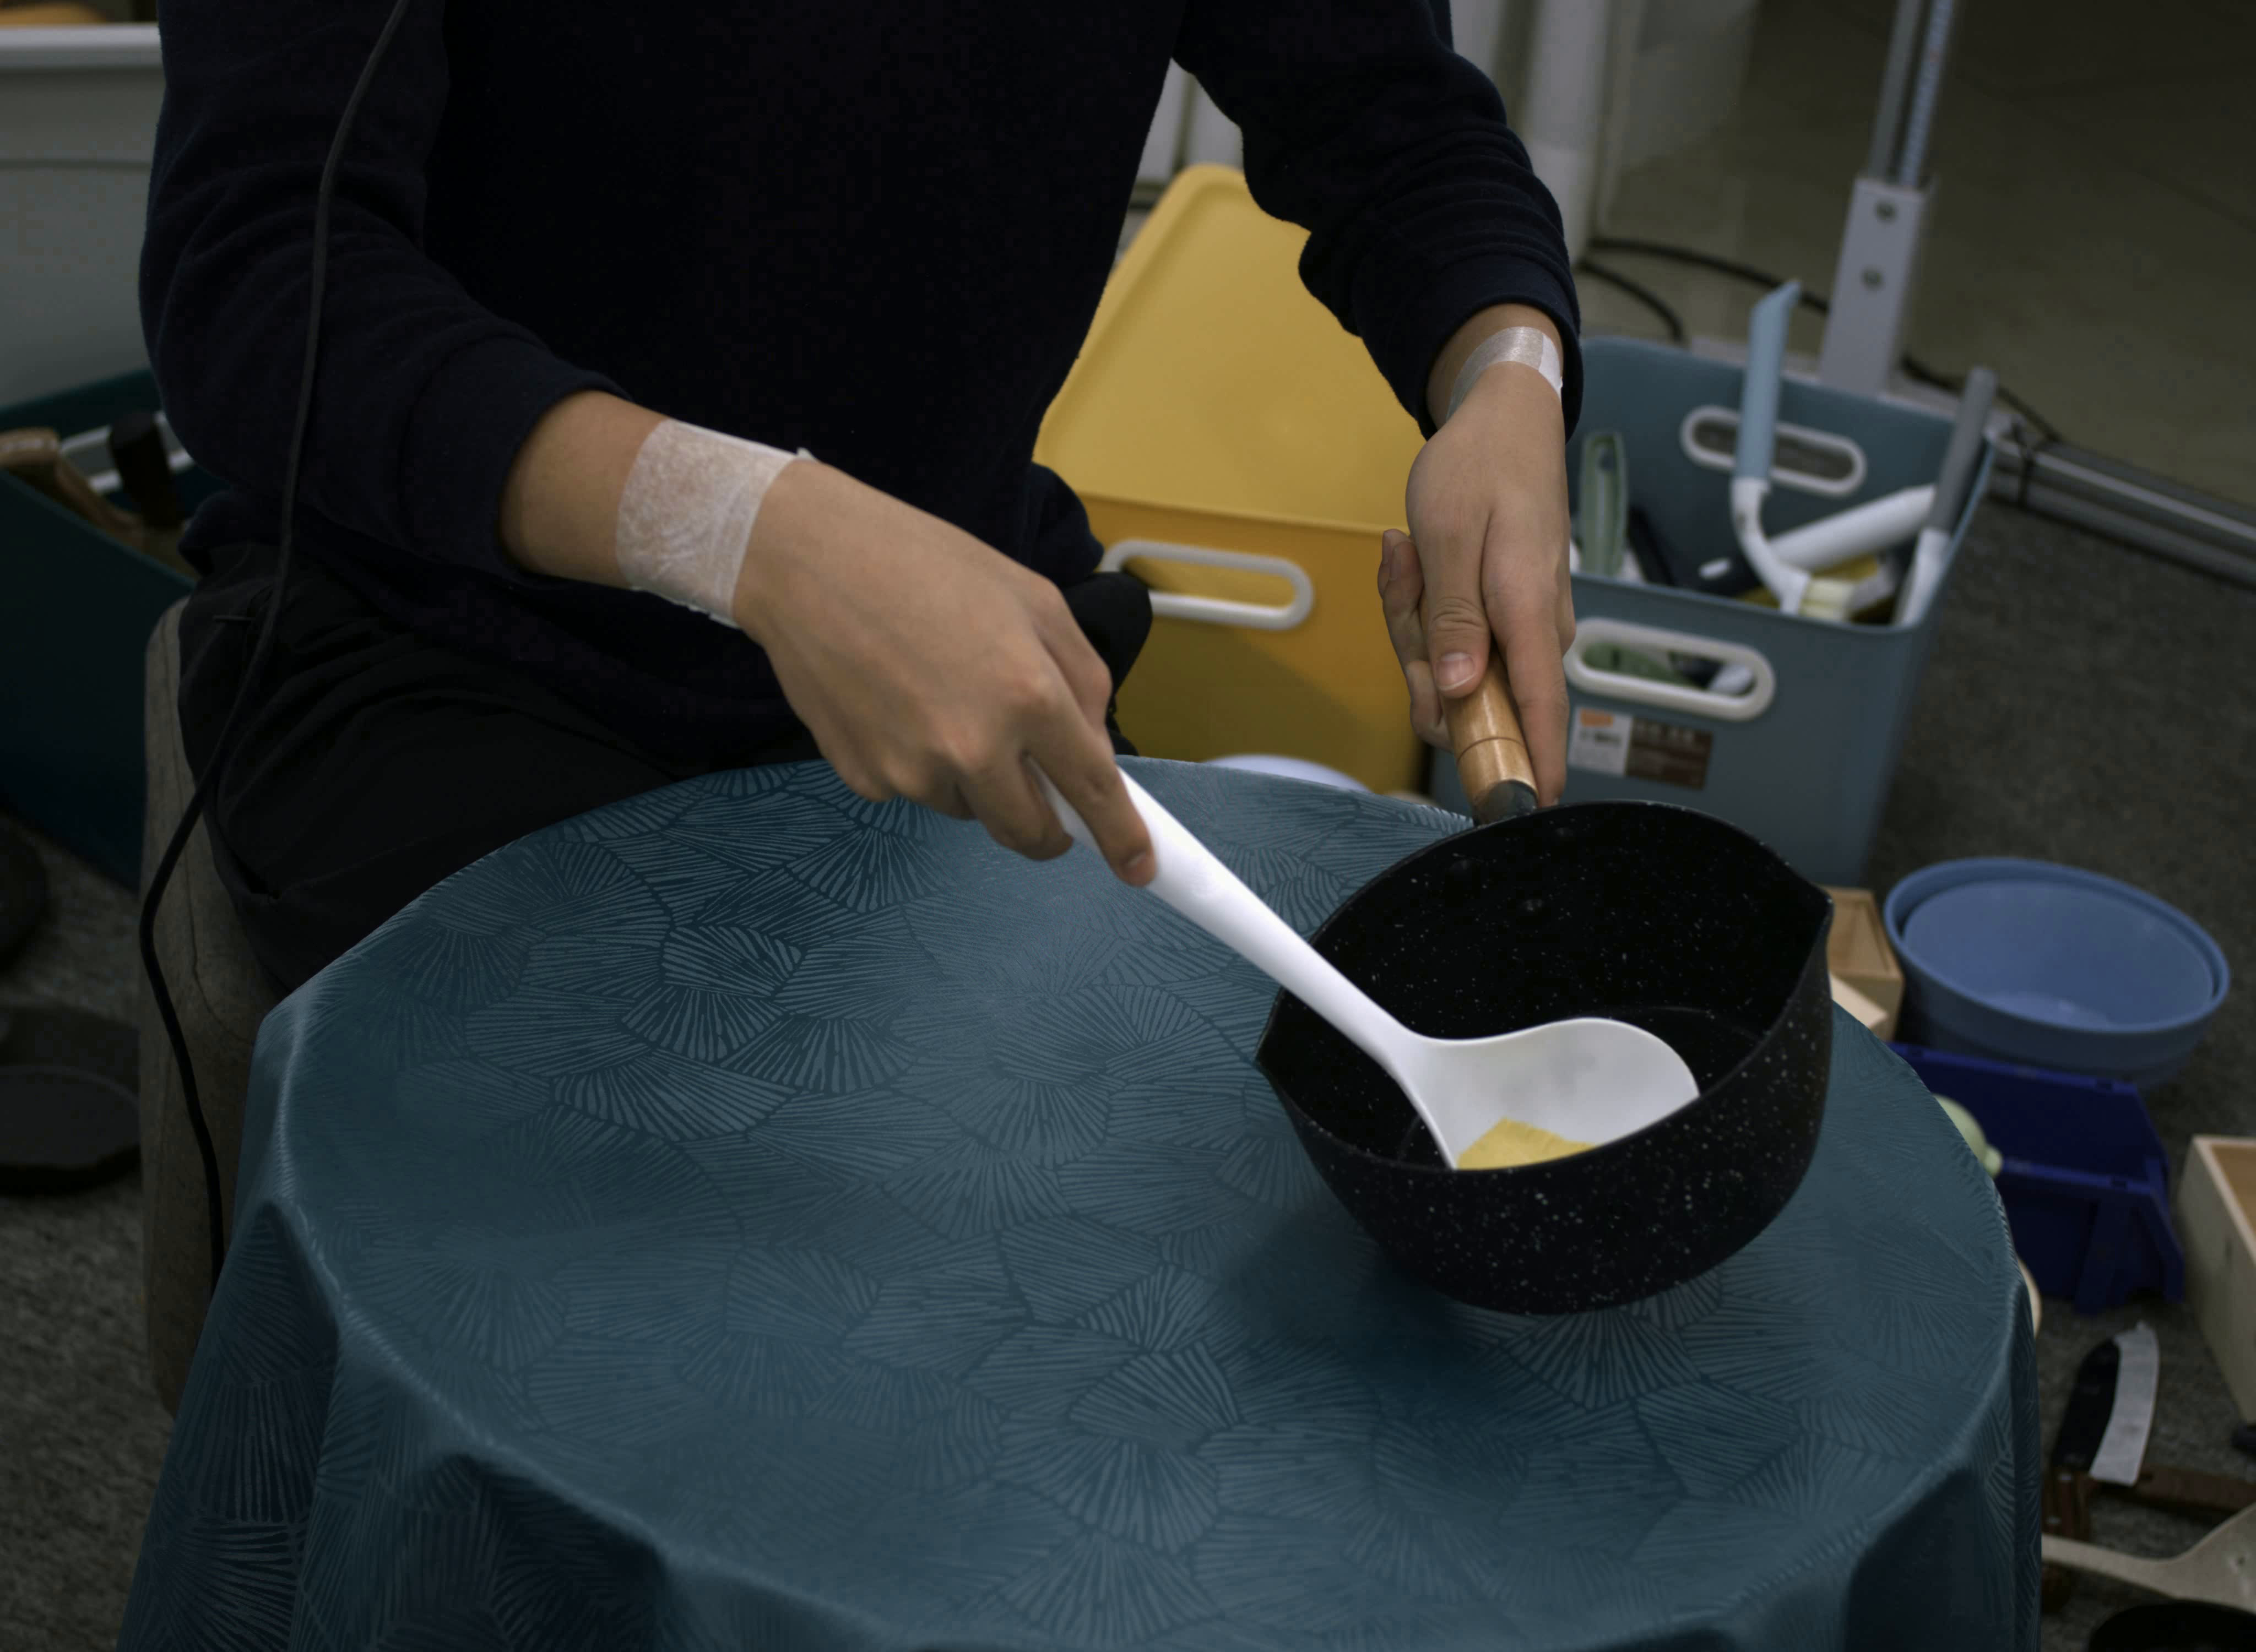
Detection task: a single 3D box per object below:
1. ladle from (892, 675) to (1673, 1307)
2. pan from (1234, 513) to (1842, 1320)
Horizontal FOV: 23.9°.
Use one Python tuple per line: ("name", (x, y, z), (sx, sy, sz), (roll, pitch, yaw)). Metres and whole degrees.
("ladle", (0.051, 0.048, 1.697), (0.291, 0.090, 0.070), (37, -10, -20))
("pan", (0.136, 0.027, 1.826), (0.207, 0.107, 0.346), (-18, 36, 7))
